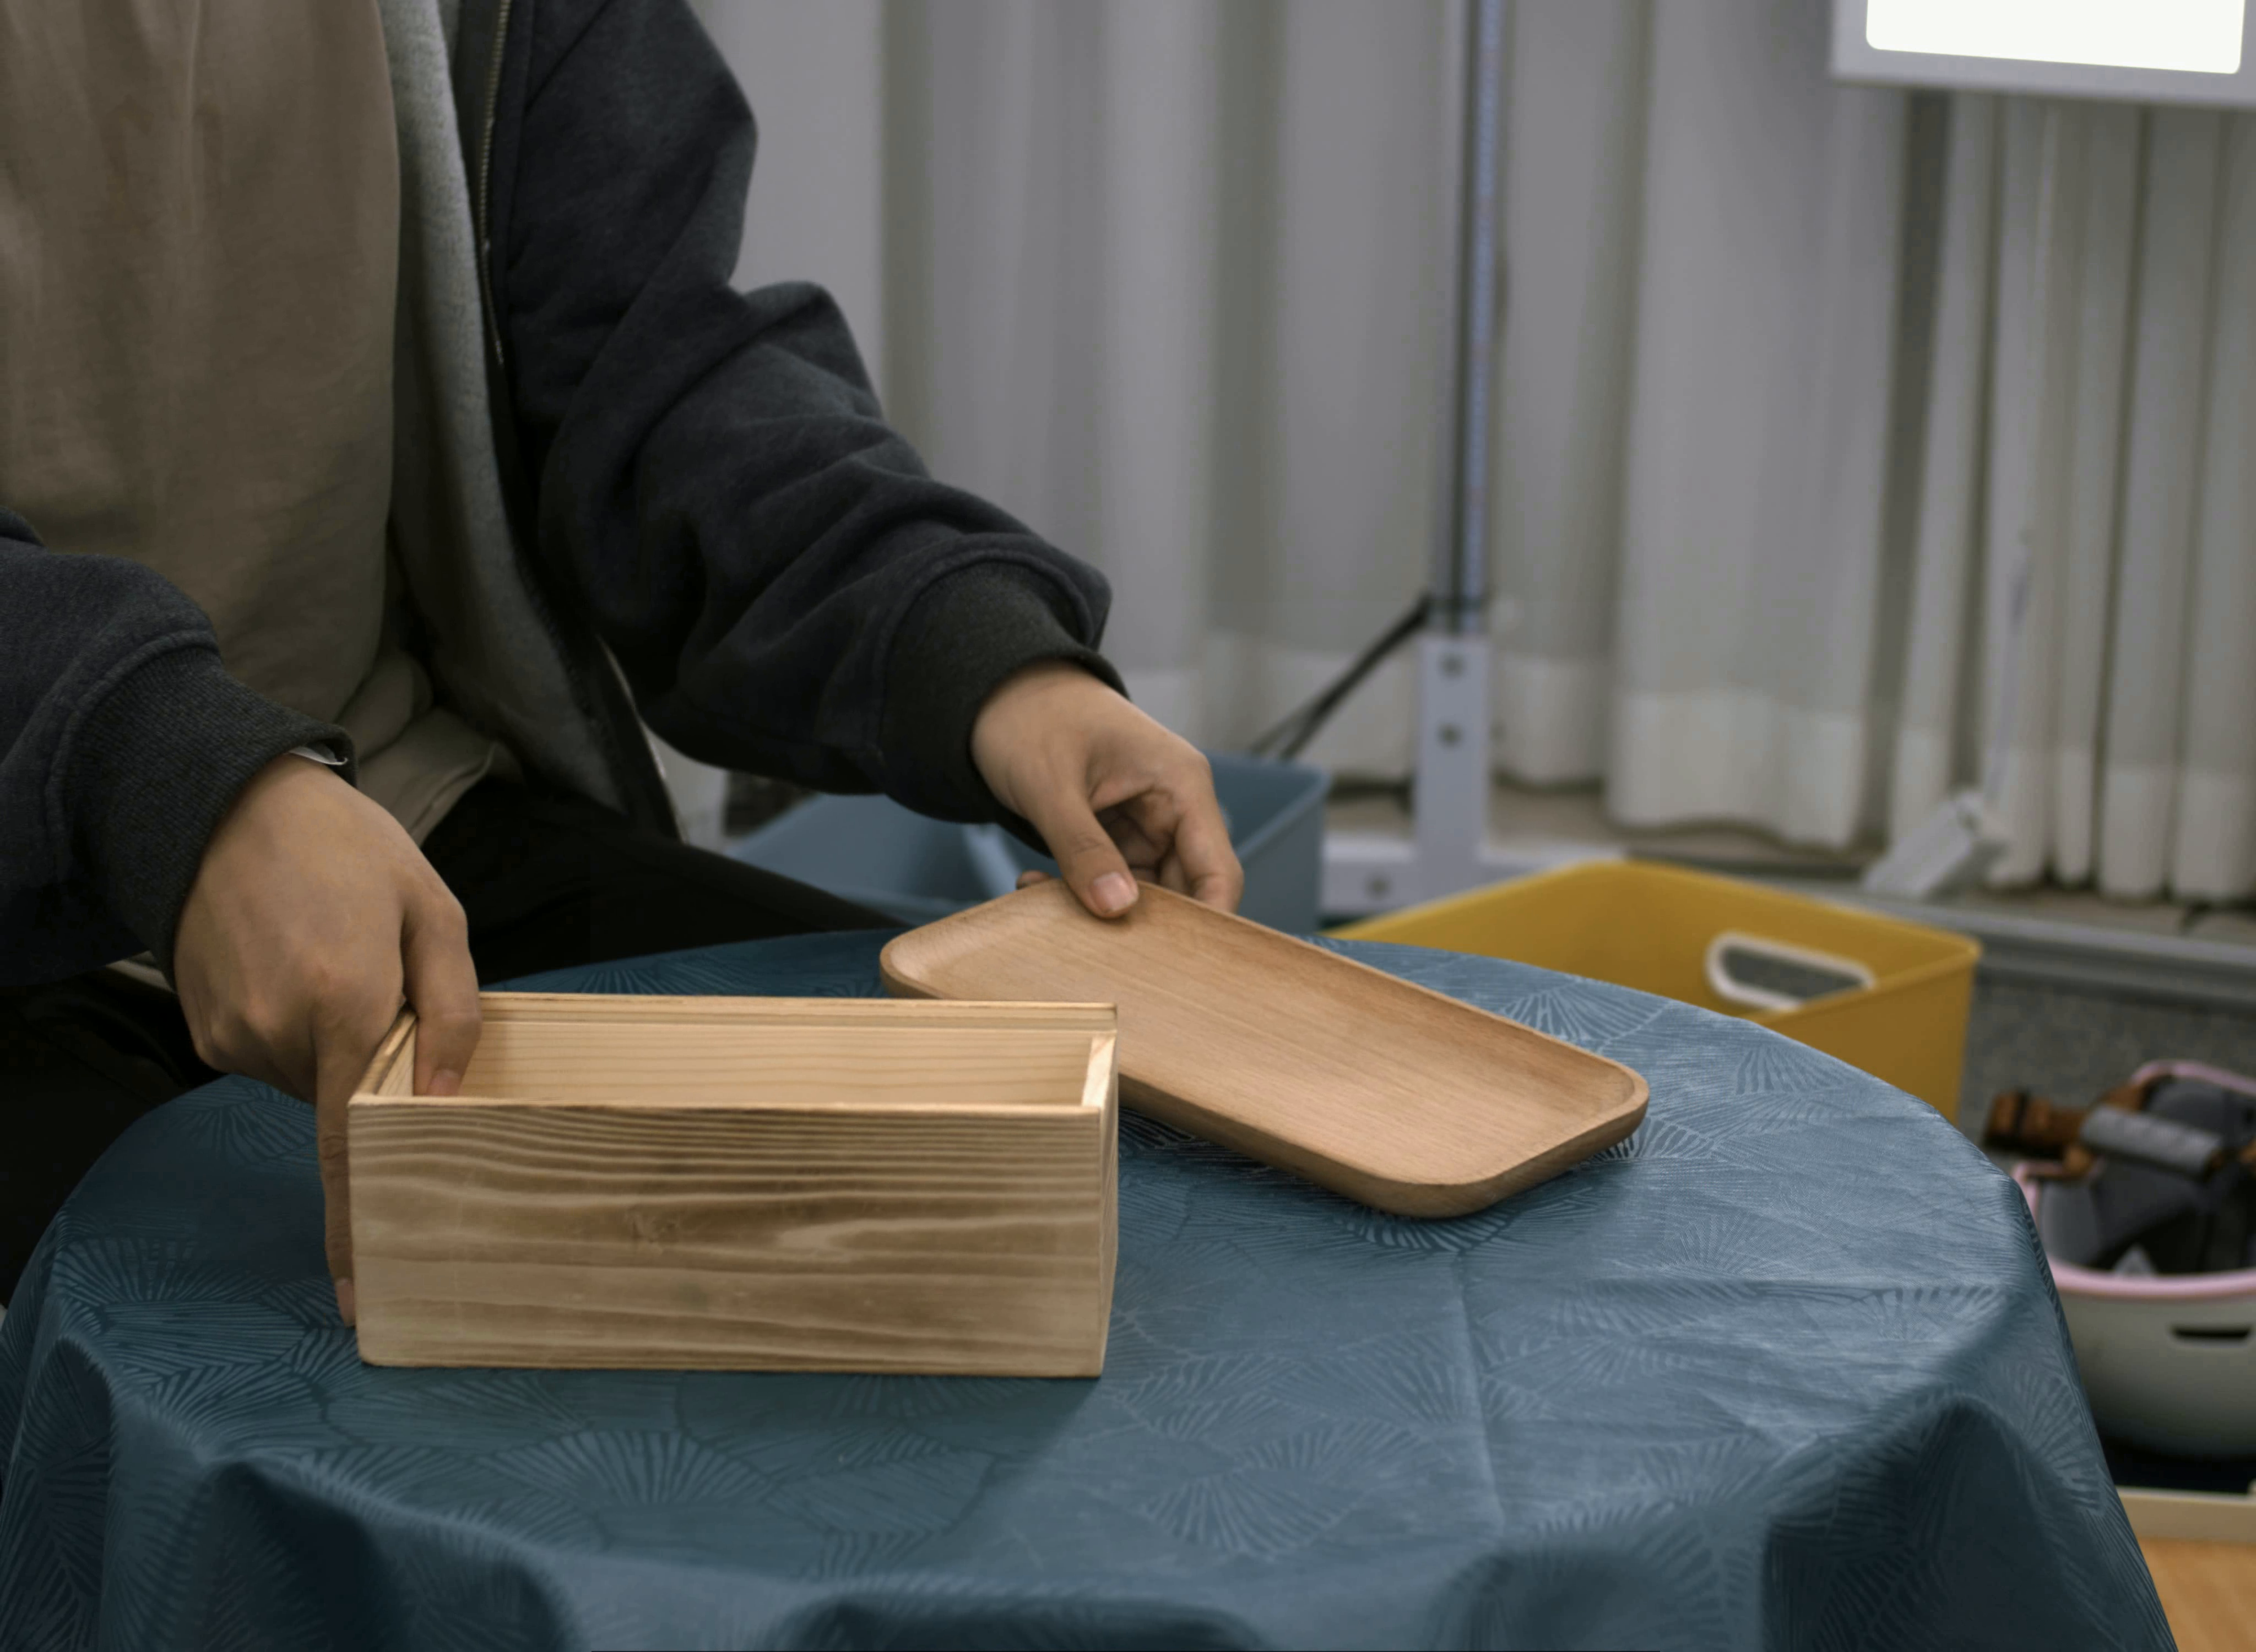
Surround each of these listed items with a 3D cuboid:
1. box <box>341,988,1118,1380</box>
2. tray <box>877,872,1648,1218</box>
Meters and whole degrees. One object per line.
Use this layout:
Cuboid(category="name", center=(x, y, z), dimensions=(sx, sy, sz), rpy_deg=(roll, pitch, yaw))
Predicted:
Cuboid(category="box", center=(-0.110, 0.101, 1.510), dimensions=(0.210, 0.081, 0.107), rpy_deg=(1, 16, 2))
Cuboid(category="tray", center=(0.041, 0.068, 1.698), dimensions=(0.247, 0.023, 0.131), rpy_deg=(20, 24, 37))
